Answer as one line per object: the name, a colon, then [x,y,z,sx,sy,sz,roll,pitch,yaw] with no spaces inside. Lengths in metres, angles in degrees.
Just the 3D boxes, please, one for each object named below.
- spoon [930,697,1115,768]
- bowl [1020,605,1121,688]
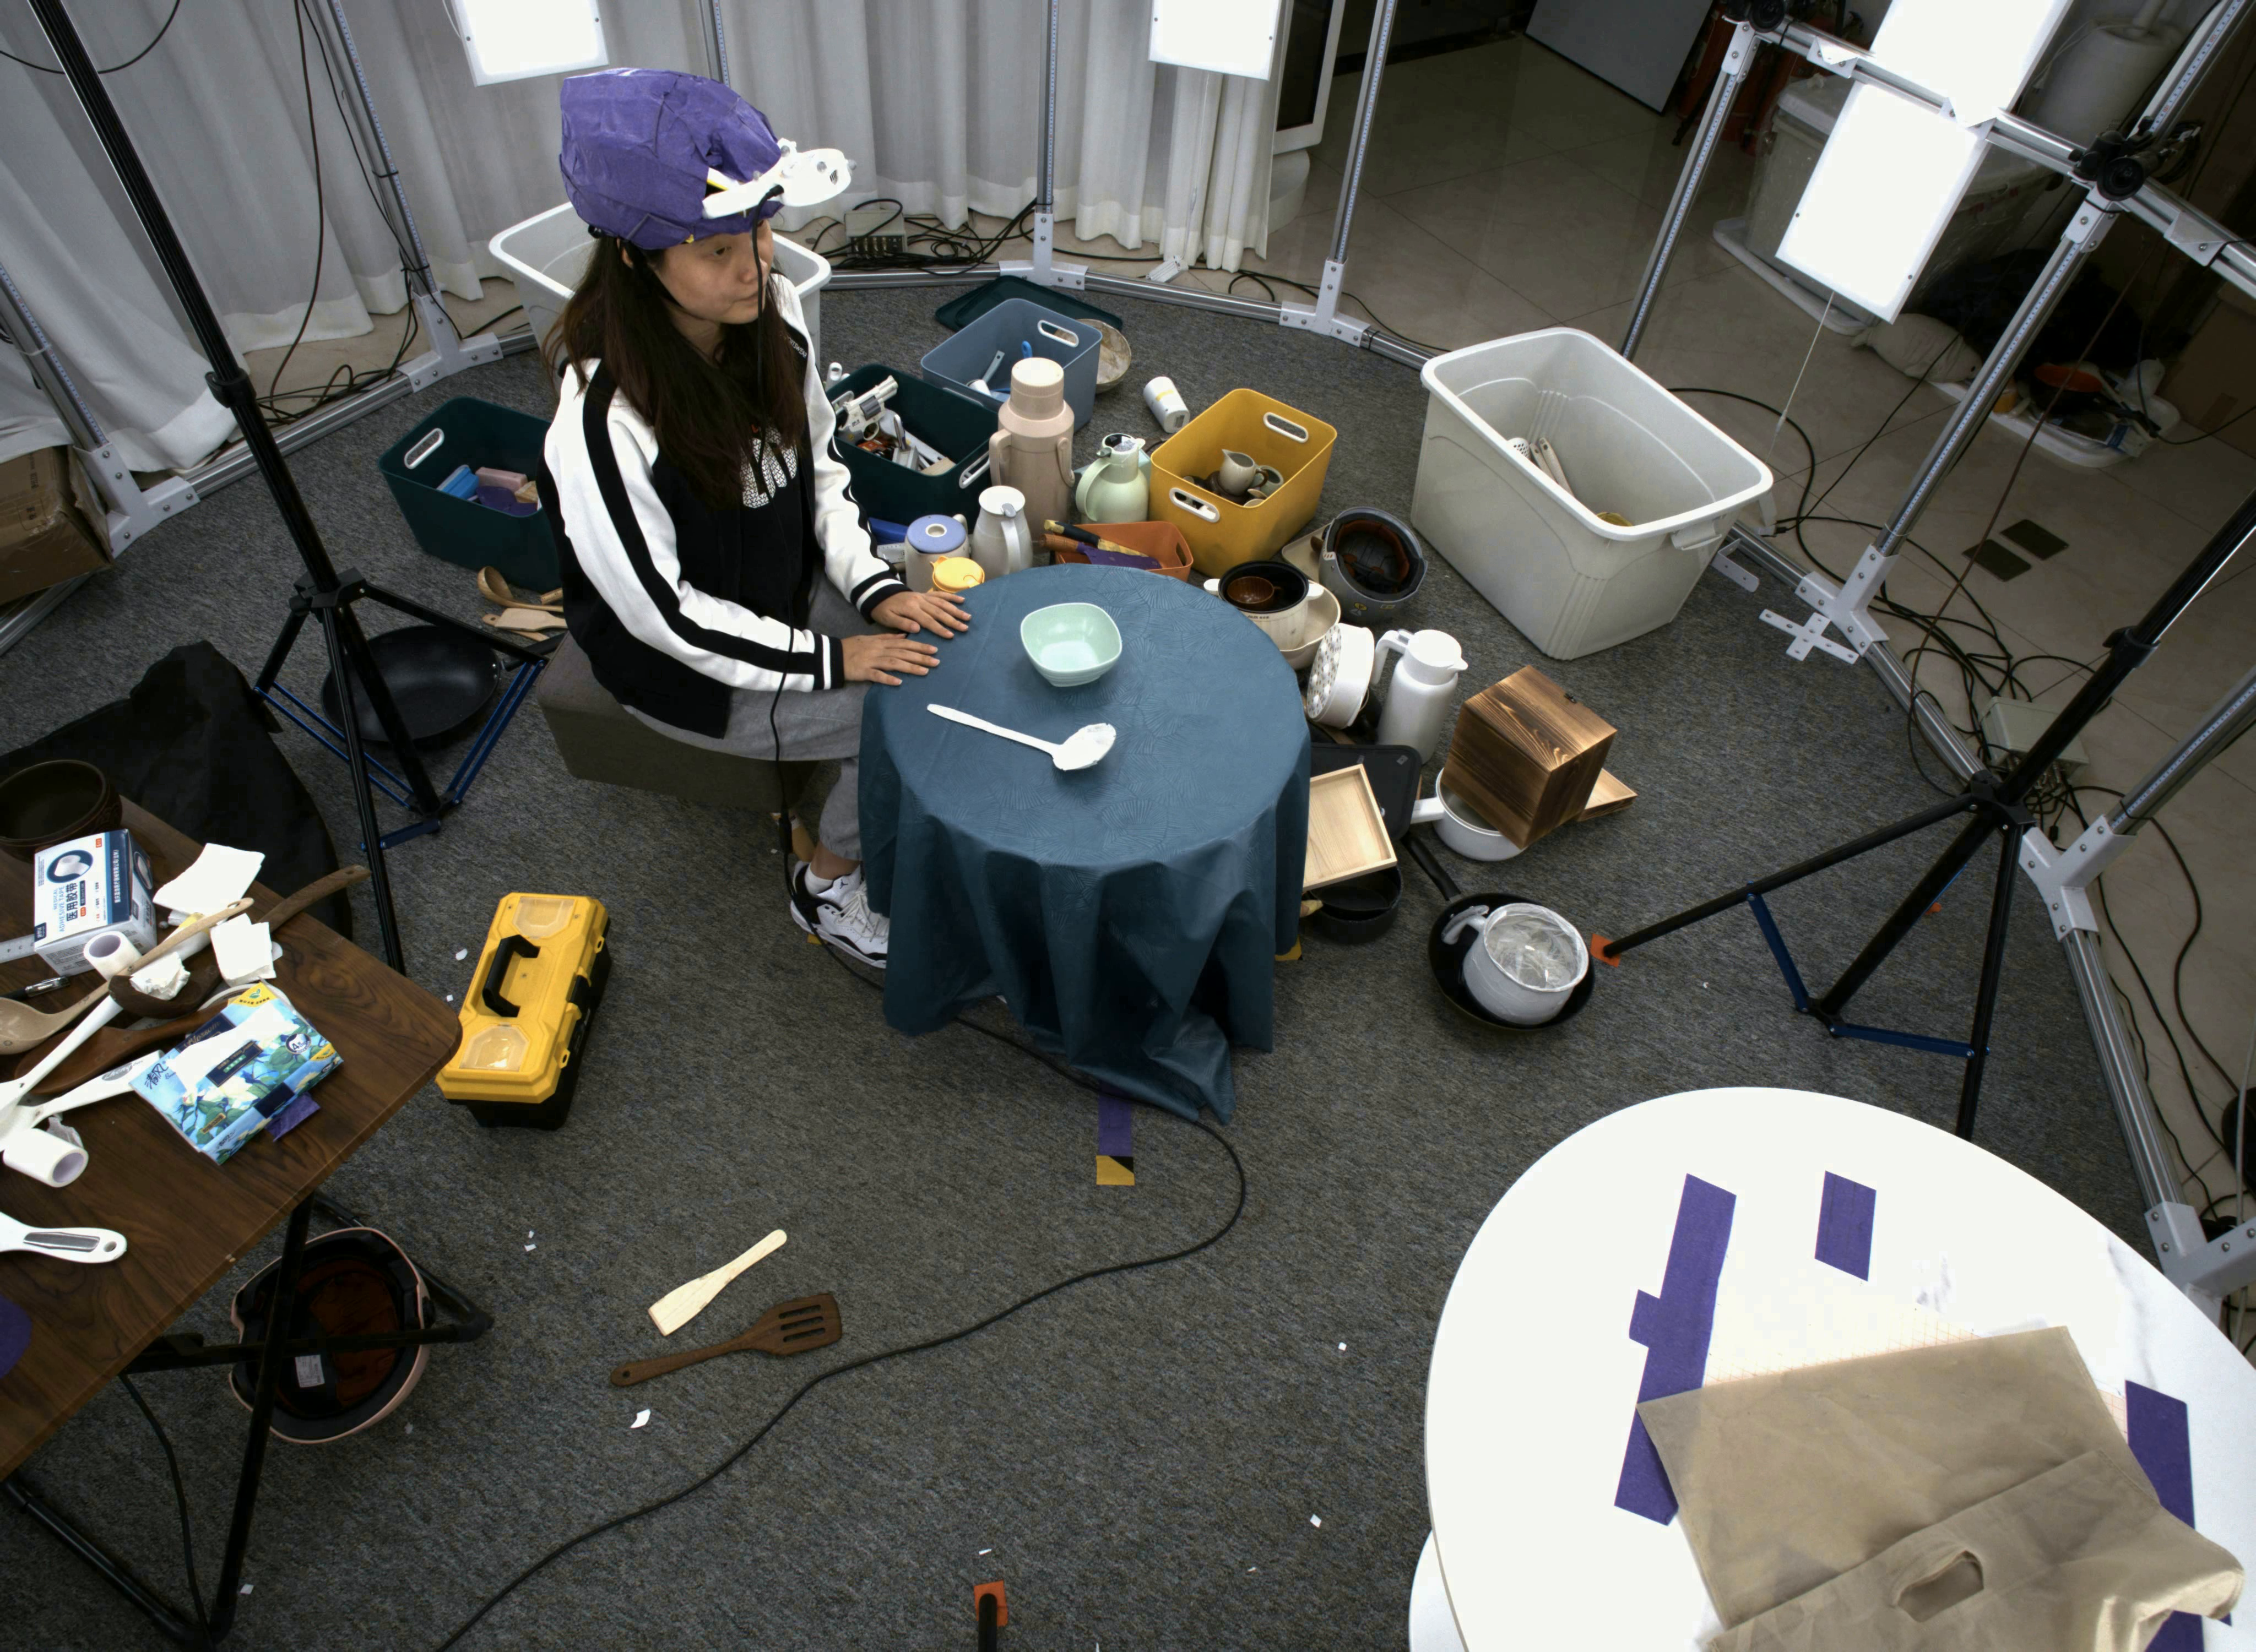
spoon: [-0.147,-0.146,1.750,0.279,0.058,0.102,23,47,15]
bowl: [-0.083,-0.250,1.848,0.151,0.057,0.155,2,49,-2]
